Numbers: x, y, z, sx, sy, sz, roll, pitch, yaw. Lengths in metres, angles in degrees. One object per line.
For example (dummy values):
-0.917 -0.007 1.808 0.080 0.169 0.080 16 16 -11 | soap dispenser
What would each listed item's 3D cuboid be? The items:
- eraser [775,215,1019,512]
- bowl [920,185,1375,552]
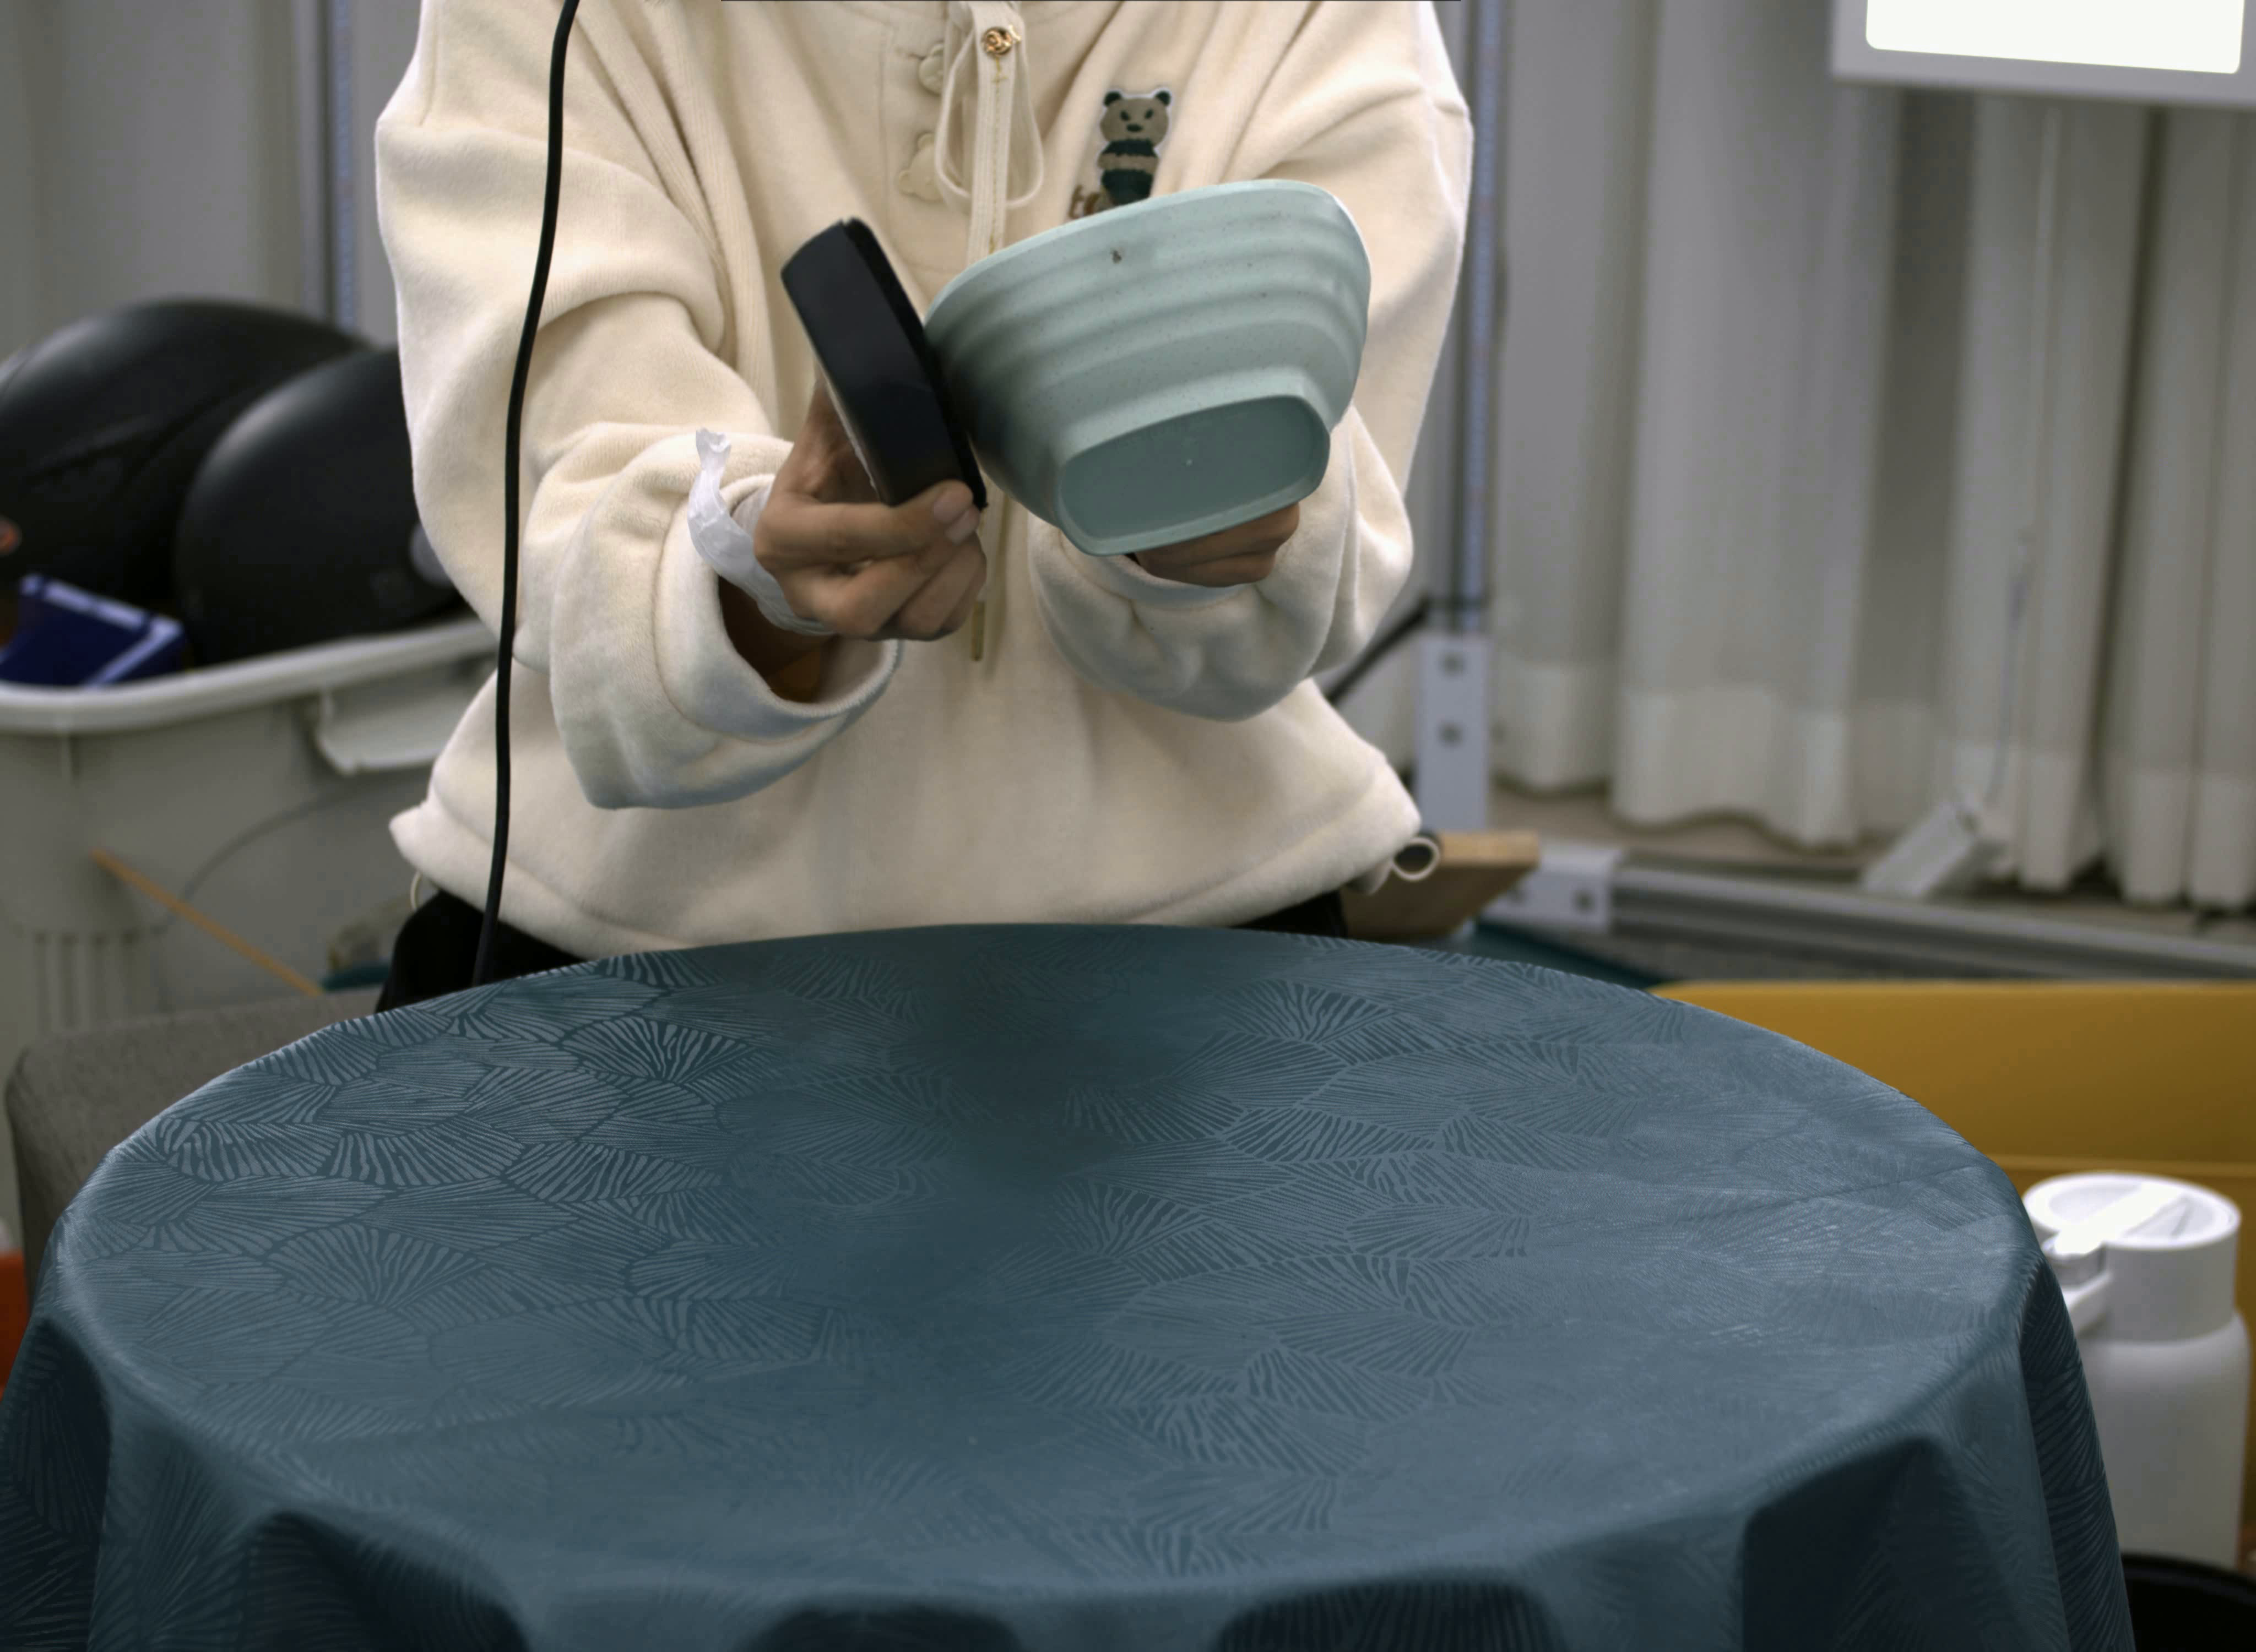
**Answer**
-0.065 -0.131 1.504 0.030 0.053 0.126 -35 -15 1 | eraser
0.011 -0.128 1.557 0.151 0.058 0.152 -12 -21 -4 | bowl
